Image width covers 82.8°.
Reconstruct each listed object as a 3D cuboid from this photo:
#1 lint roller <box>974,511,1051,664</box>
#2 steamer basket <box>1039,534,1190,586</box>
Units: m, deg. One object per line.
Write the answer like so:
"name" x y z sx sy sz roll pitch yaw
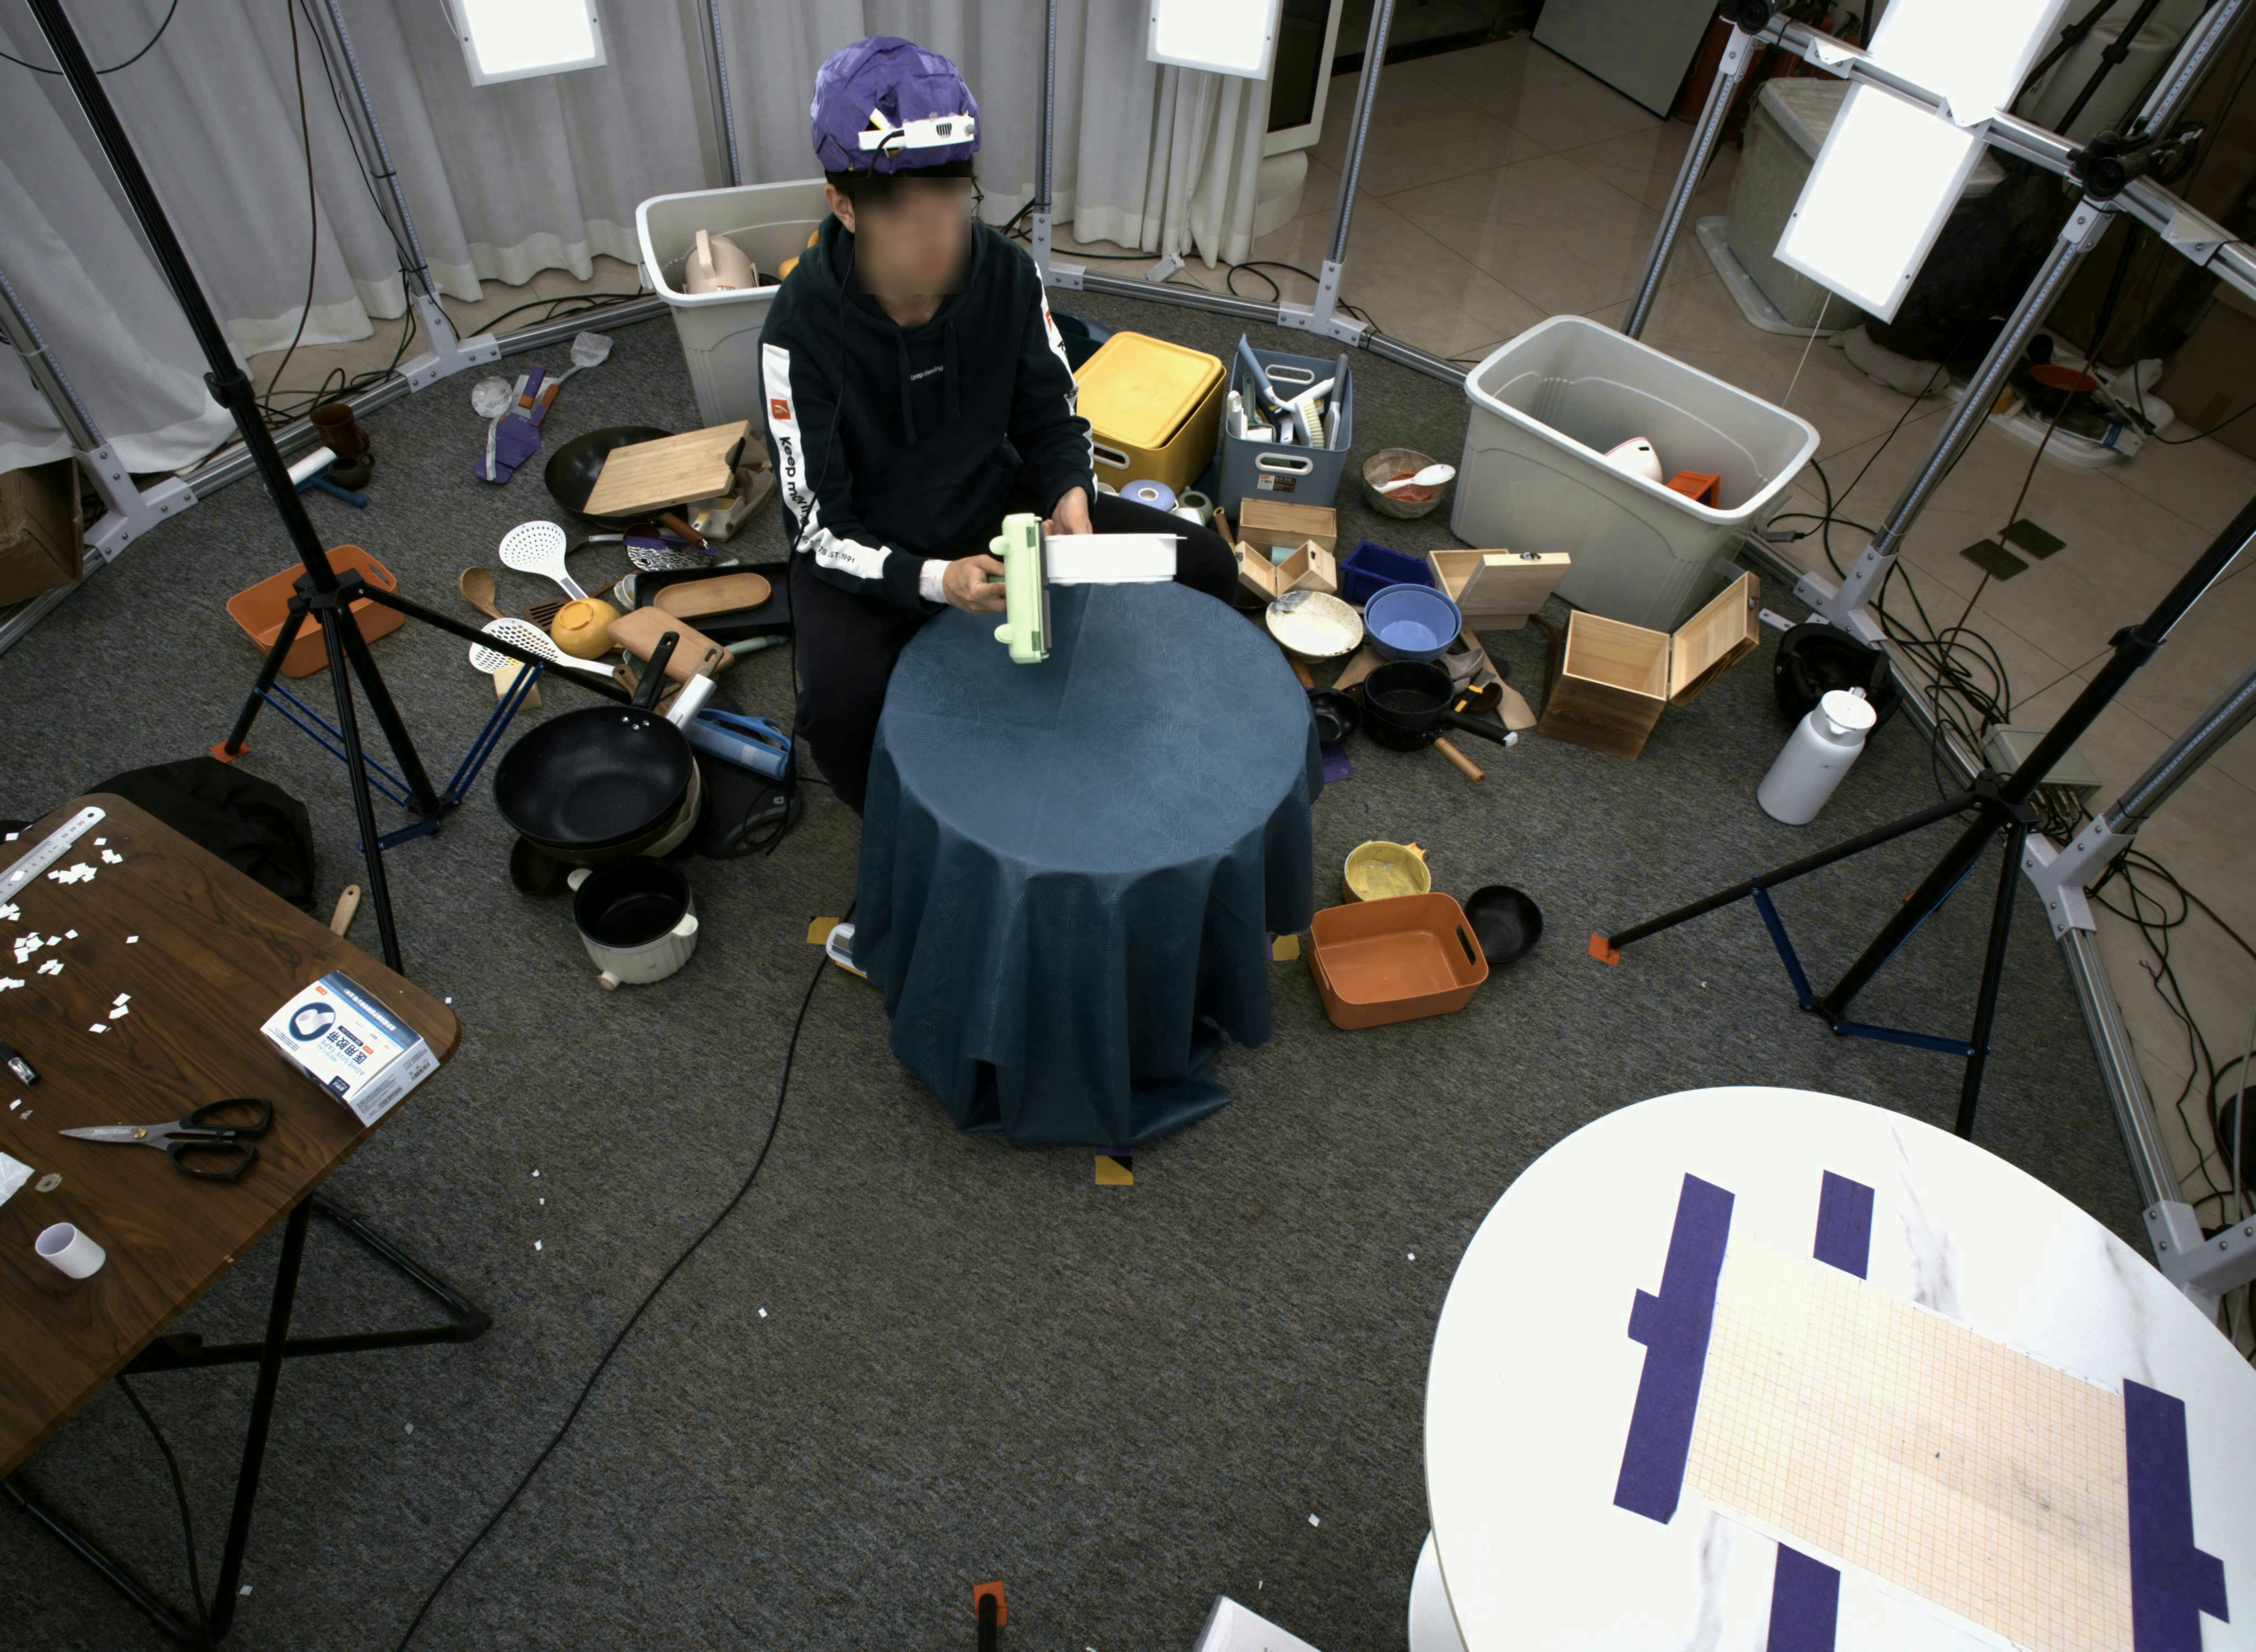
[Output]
"lint roller" -0.178 -0.323 1.751 0.082 0.197 0.185 -12 14 -39
"steamer basket" -0.028 -0.366 1.769 0.231 0.068 0.203 5 13 23
